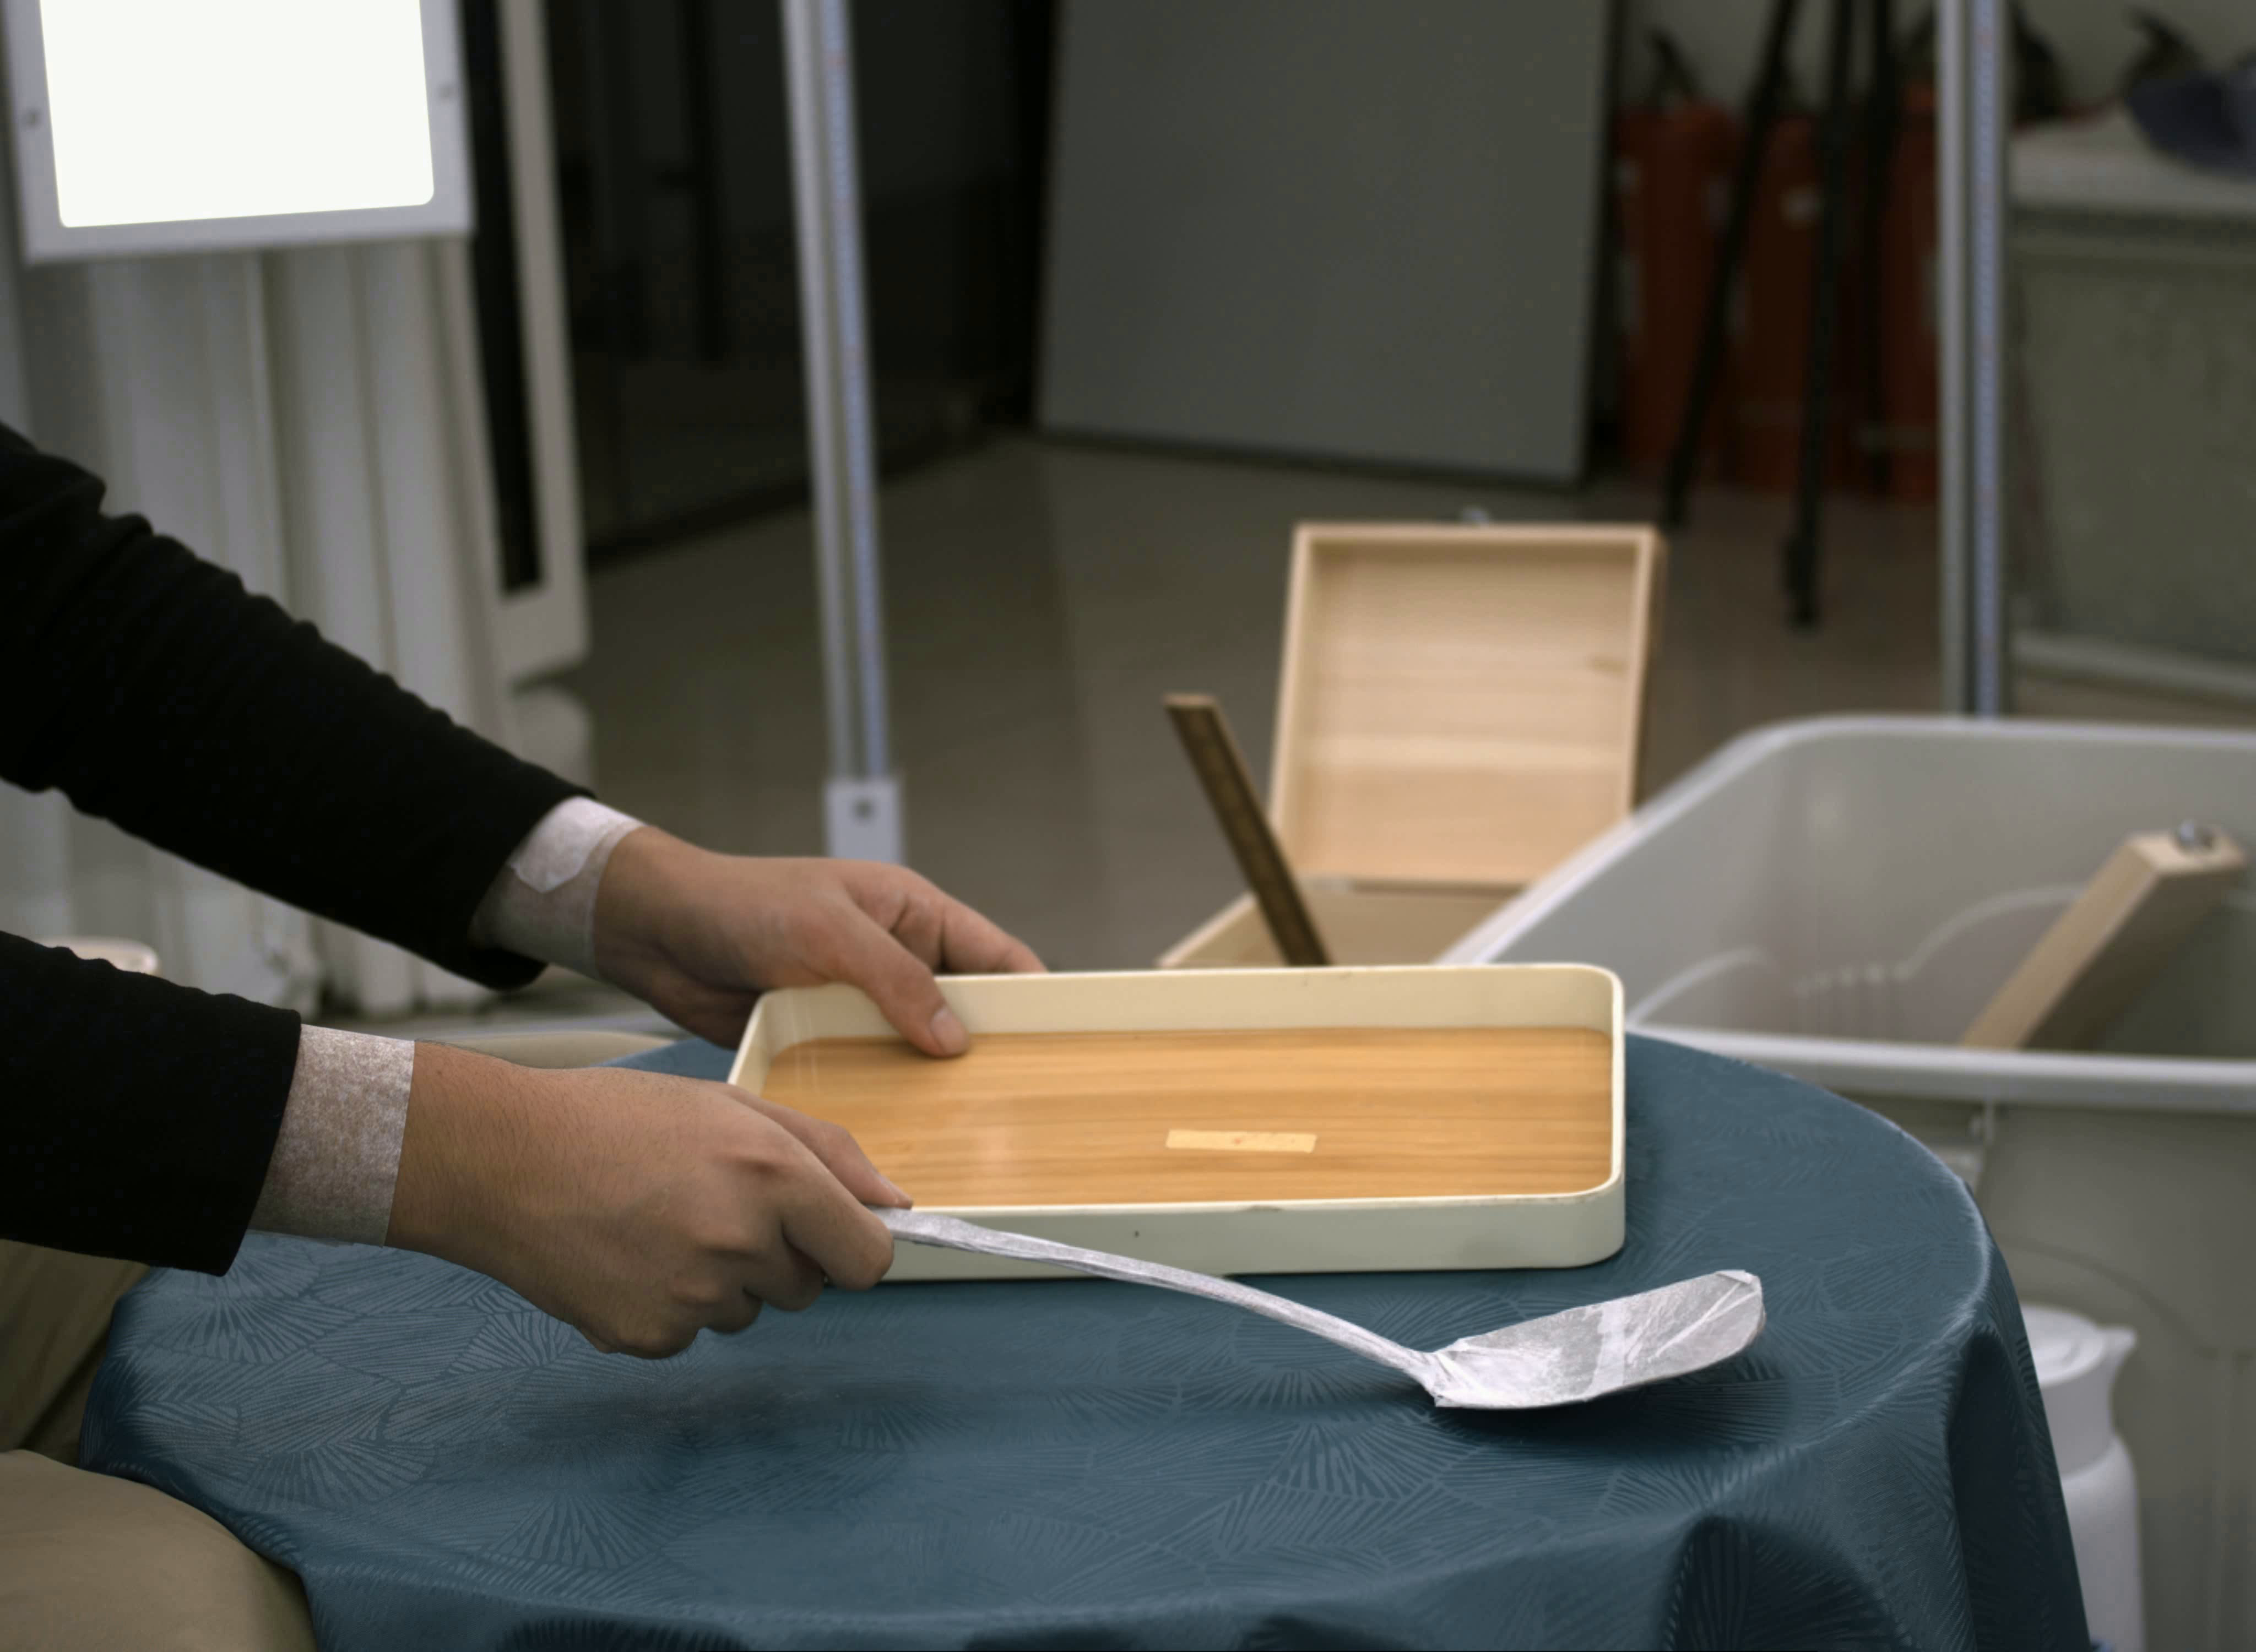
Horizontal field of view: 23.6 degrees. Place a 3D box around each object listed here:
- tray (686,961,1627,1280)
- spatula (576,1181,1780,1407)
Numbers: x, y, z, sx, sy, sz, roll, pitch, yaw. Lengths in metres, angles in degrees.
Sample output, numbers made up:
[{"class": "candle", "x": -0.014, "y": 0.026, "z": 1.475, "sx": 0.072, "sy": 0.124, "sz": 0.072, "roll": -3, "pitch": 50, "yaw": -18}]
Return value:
[{"class": "tray", "x": 0.015, "y": 0.095, "z": 1.764, "sx": 0.297, "sy": 0.027, "sz": 0.191, "roll": -2, "pitch": 21, "yaw": 7}, {"class": "spatula", "x": 0.009, "y": 0.127, "z": 1.580, "sx": 0.362, "sy": 0.045, "sz": 0.098, "roll": 11, "pitch": 15, "yaw": 11}]
